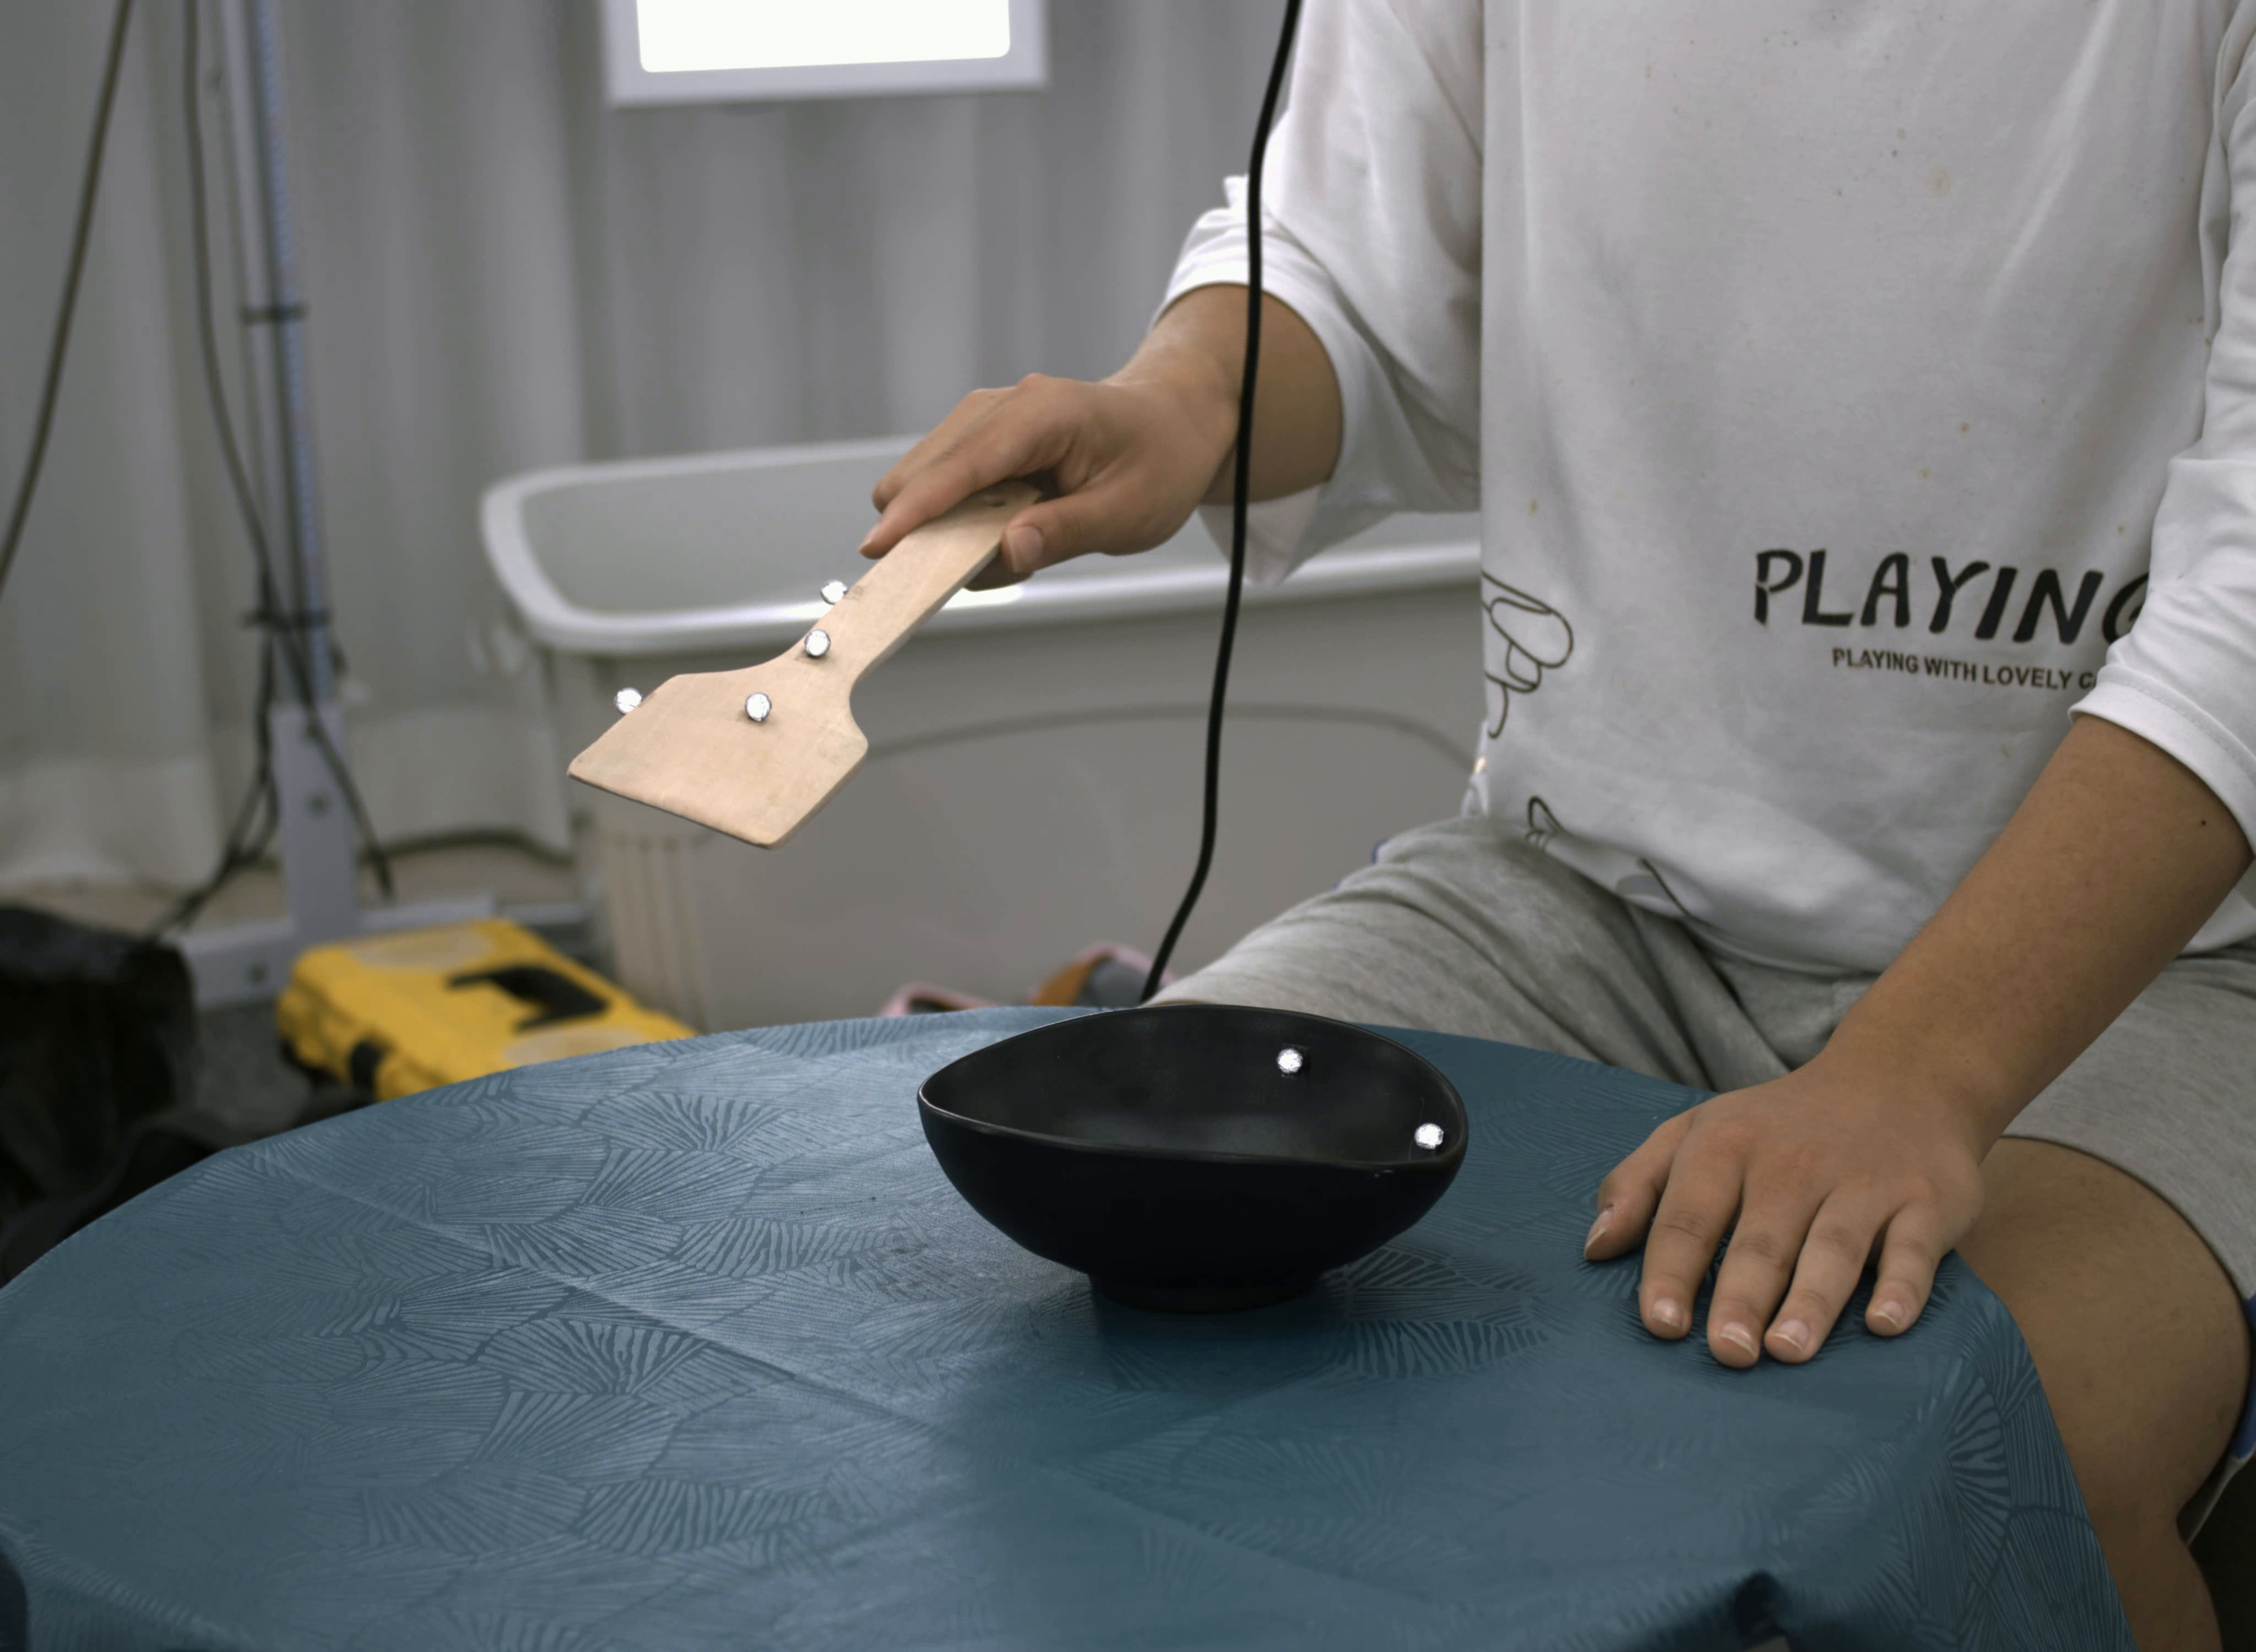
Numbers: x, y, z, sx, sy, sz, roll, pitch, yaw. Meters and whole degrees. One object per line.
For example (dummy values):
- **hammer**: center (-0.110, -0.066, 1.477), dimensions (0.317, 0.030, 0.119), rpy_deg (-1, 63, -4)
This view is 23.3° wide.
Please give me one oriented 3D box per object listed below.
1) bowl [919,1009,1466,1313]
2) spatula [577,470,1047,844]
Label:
- **bowl**: center (0.020, 0.104, 1.632), dimensions (0.170, 0.066, 0.138), rpy_deg (5, 16, 21)
- **spatula**: center (-0.088, -0.061, 1.747), dimensions (0.072, 0.010, 0.295), rpy_deg (18, 28, 13)
